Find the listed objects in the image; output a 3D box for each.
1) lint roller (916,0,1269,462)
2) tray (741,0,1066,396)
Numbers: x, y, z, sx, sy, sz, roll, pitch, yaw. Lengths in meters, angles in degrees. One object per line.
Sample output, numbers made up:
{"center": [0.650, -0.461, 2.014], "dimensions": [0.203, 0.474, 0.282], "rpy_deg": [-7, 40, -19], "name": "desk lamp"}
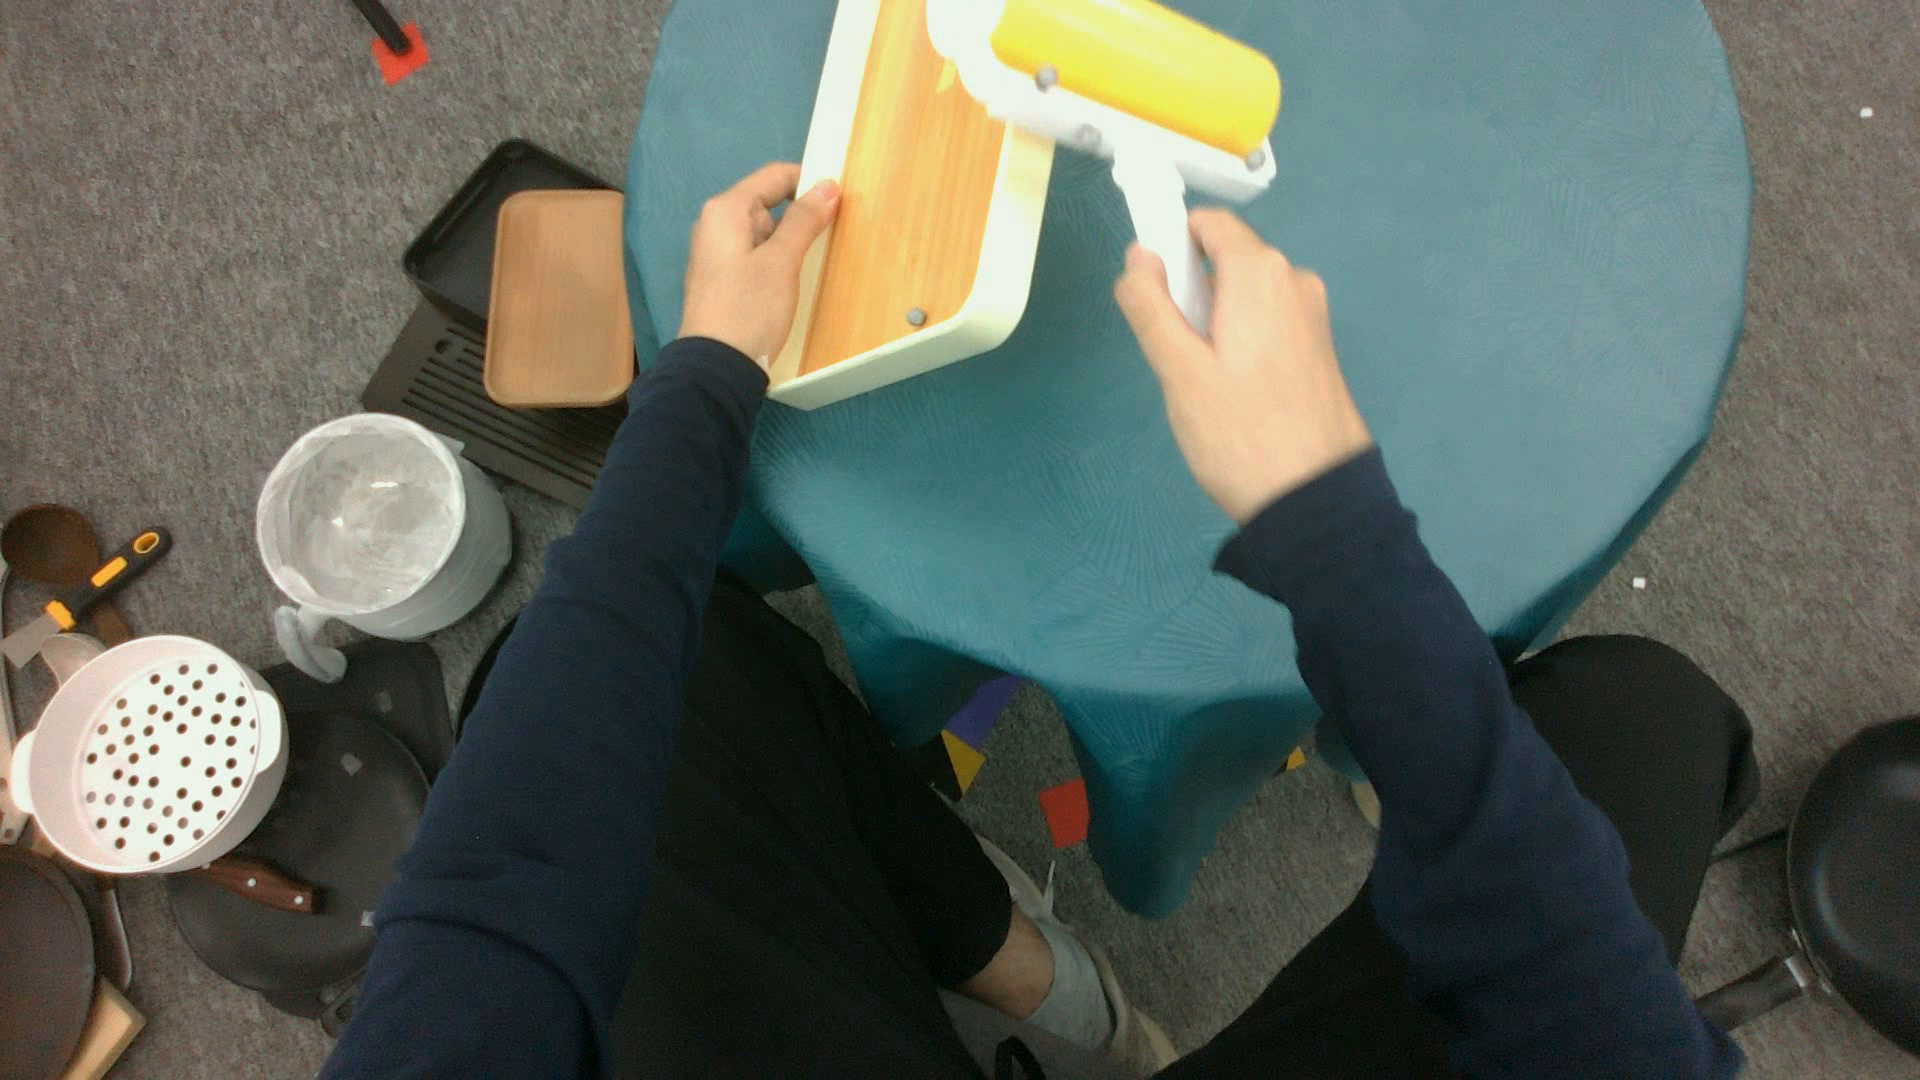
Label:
{"center": [0.084, -0.122, 0.534], "dimensions": [0.051, 0.175, 0.192], "rpy_deg": [-44, 59, 37], "name": "lint roller"}
{"center": [-0.020, -0.223, 0.650], "dimensions": [0.027, 0.191, 0.301], "rpy_deg": [20, 74, -34], "name": "tray"}
